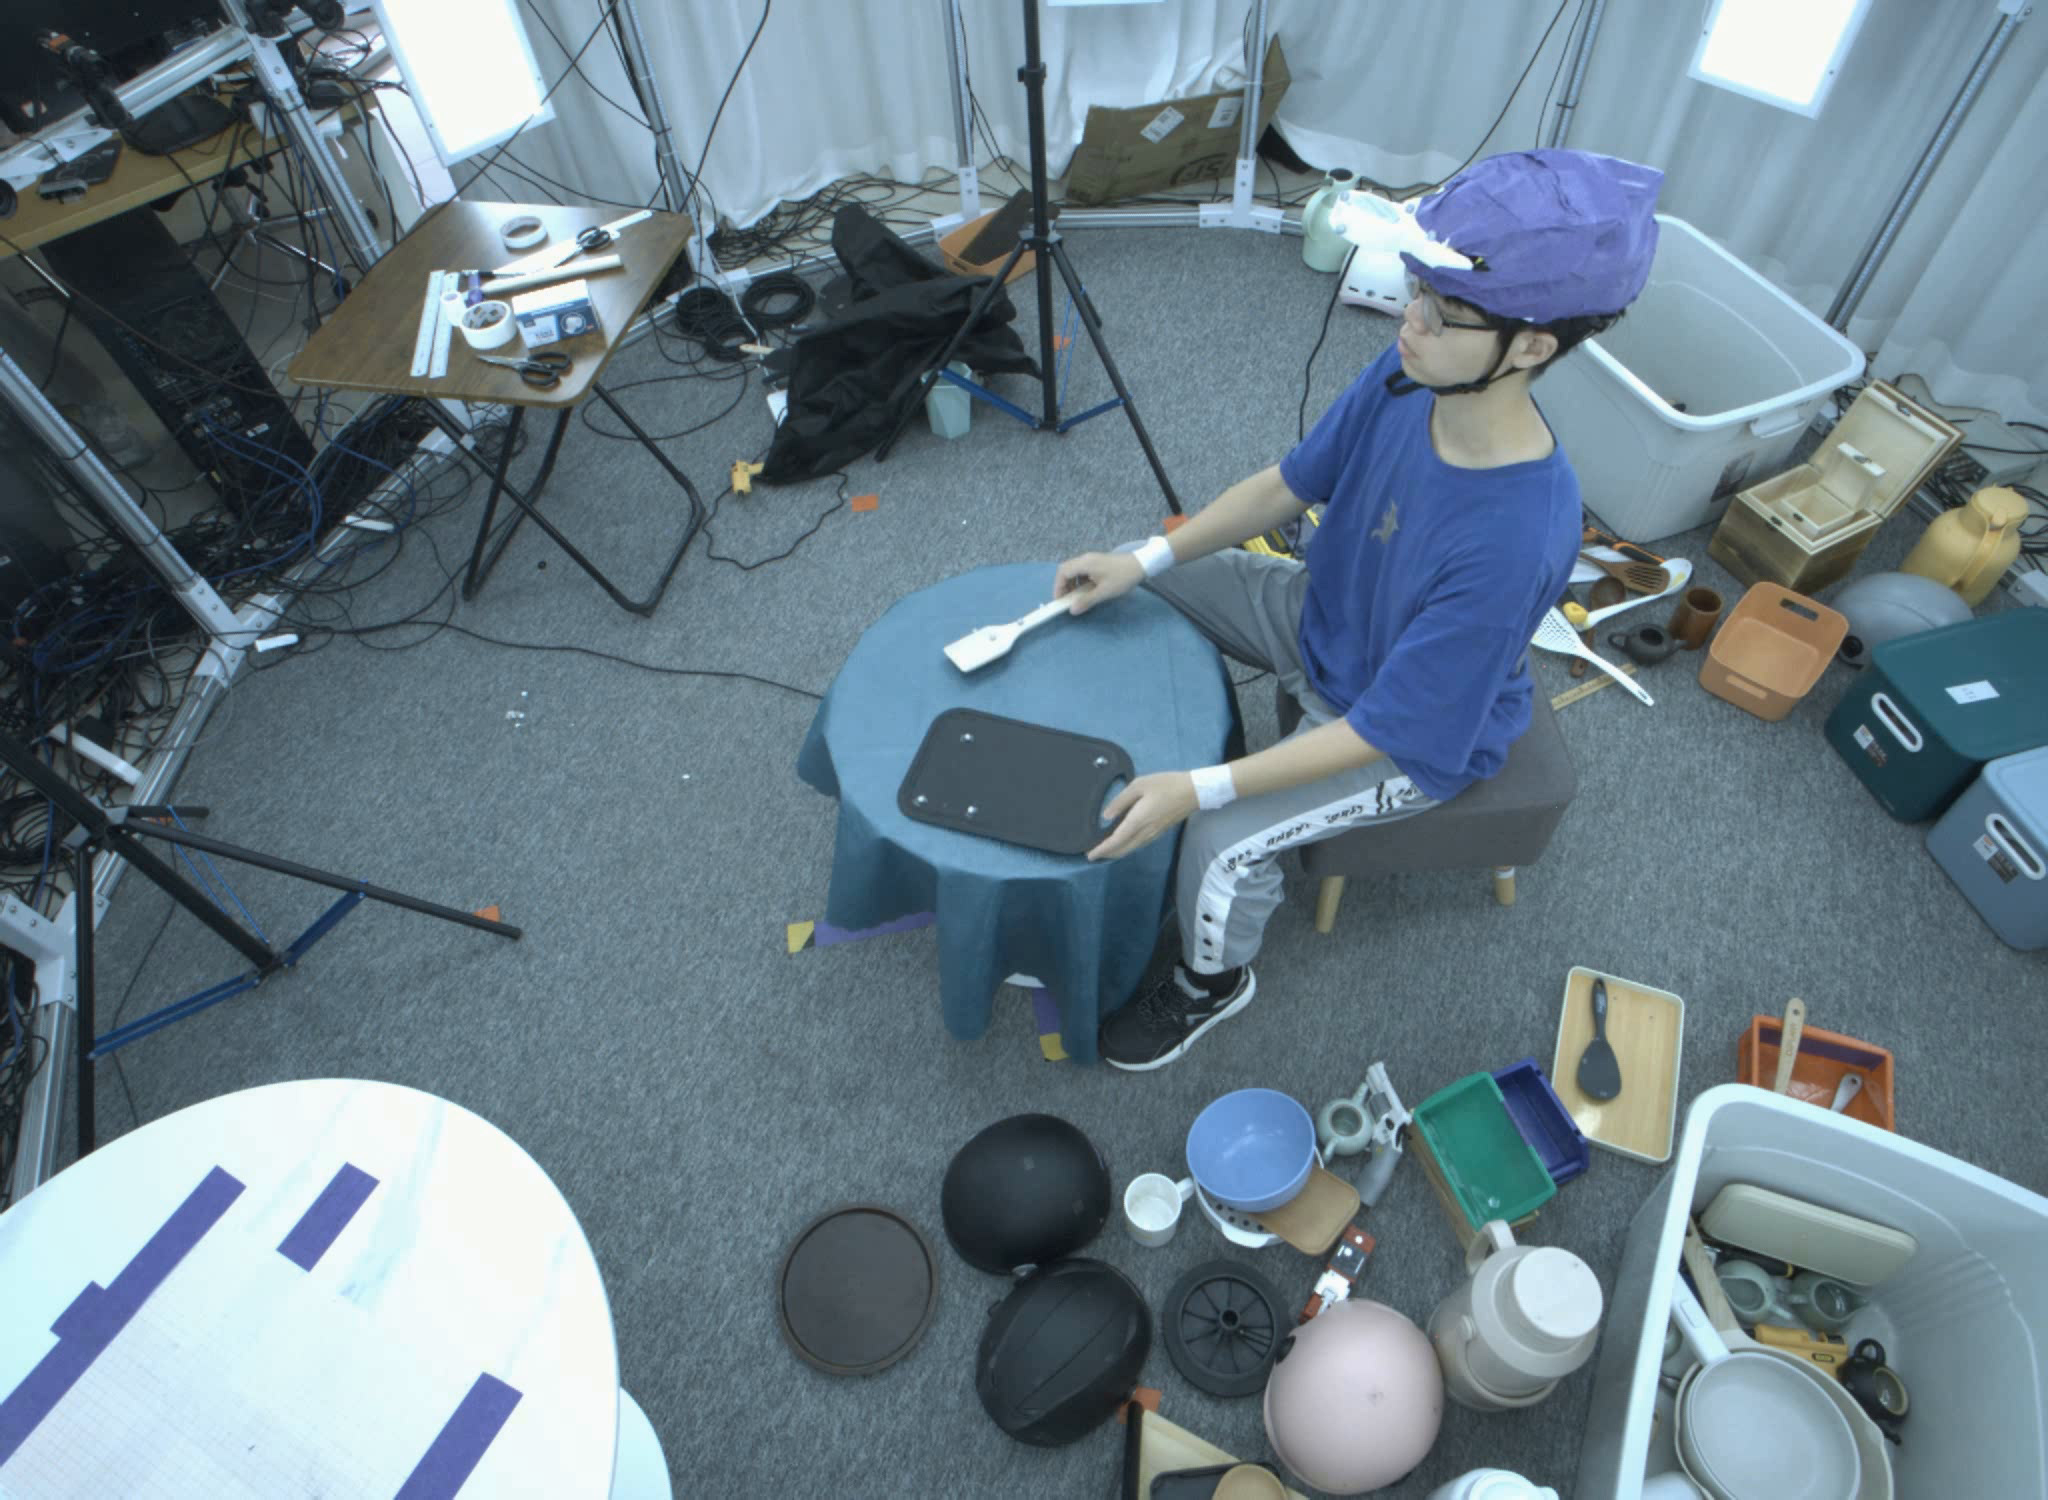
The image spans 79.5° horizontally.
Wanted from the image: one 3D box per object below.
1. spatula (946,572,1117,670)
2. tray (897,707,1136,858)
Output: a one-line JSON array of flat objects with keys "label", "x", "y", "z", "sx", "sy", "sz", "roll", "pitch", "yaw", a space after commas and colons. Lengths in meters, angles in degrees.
[{"label": "spatula", "x": 0.018, "y": -0.206, "z": 1.893, "sx": 0.295, "sy": 0.011, "sz": 0.070, "roll": -30, "pitch": 49, "yaw": -16}, {"label": "tray", "x": -0.005, "y": 0.042, "z": 1.738, "sx": 0.322, "sy": 0.010, "sz": 0.211, "roll": 14, "pitch": 55, "yaw": 14}]
